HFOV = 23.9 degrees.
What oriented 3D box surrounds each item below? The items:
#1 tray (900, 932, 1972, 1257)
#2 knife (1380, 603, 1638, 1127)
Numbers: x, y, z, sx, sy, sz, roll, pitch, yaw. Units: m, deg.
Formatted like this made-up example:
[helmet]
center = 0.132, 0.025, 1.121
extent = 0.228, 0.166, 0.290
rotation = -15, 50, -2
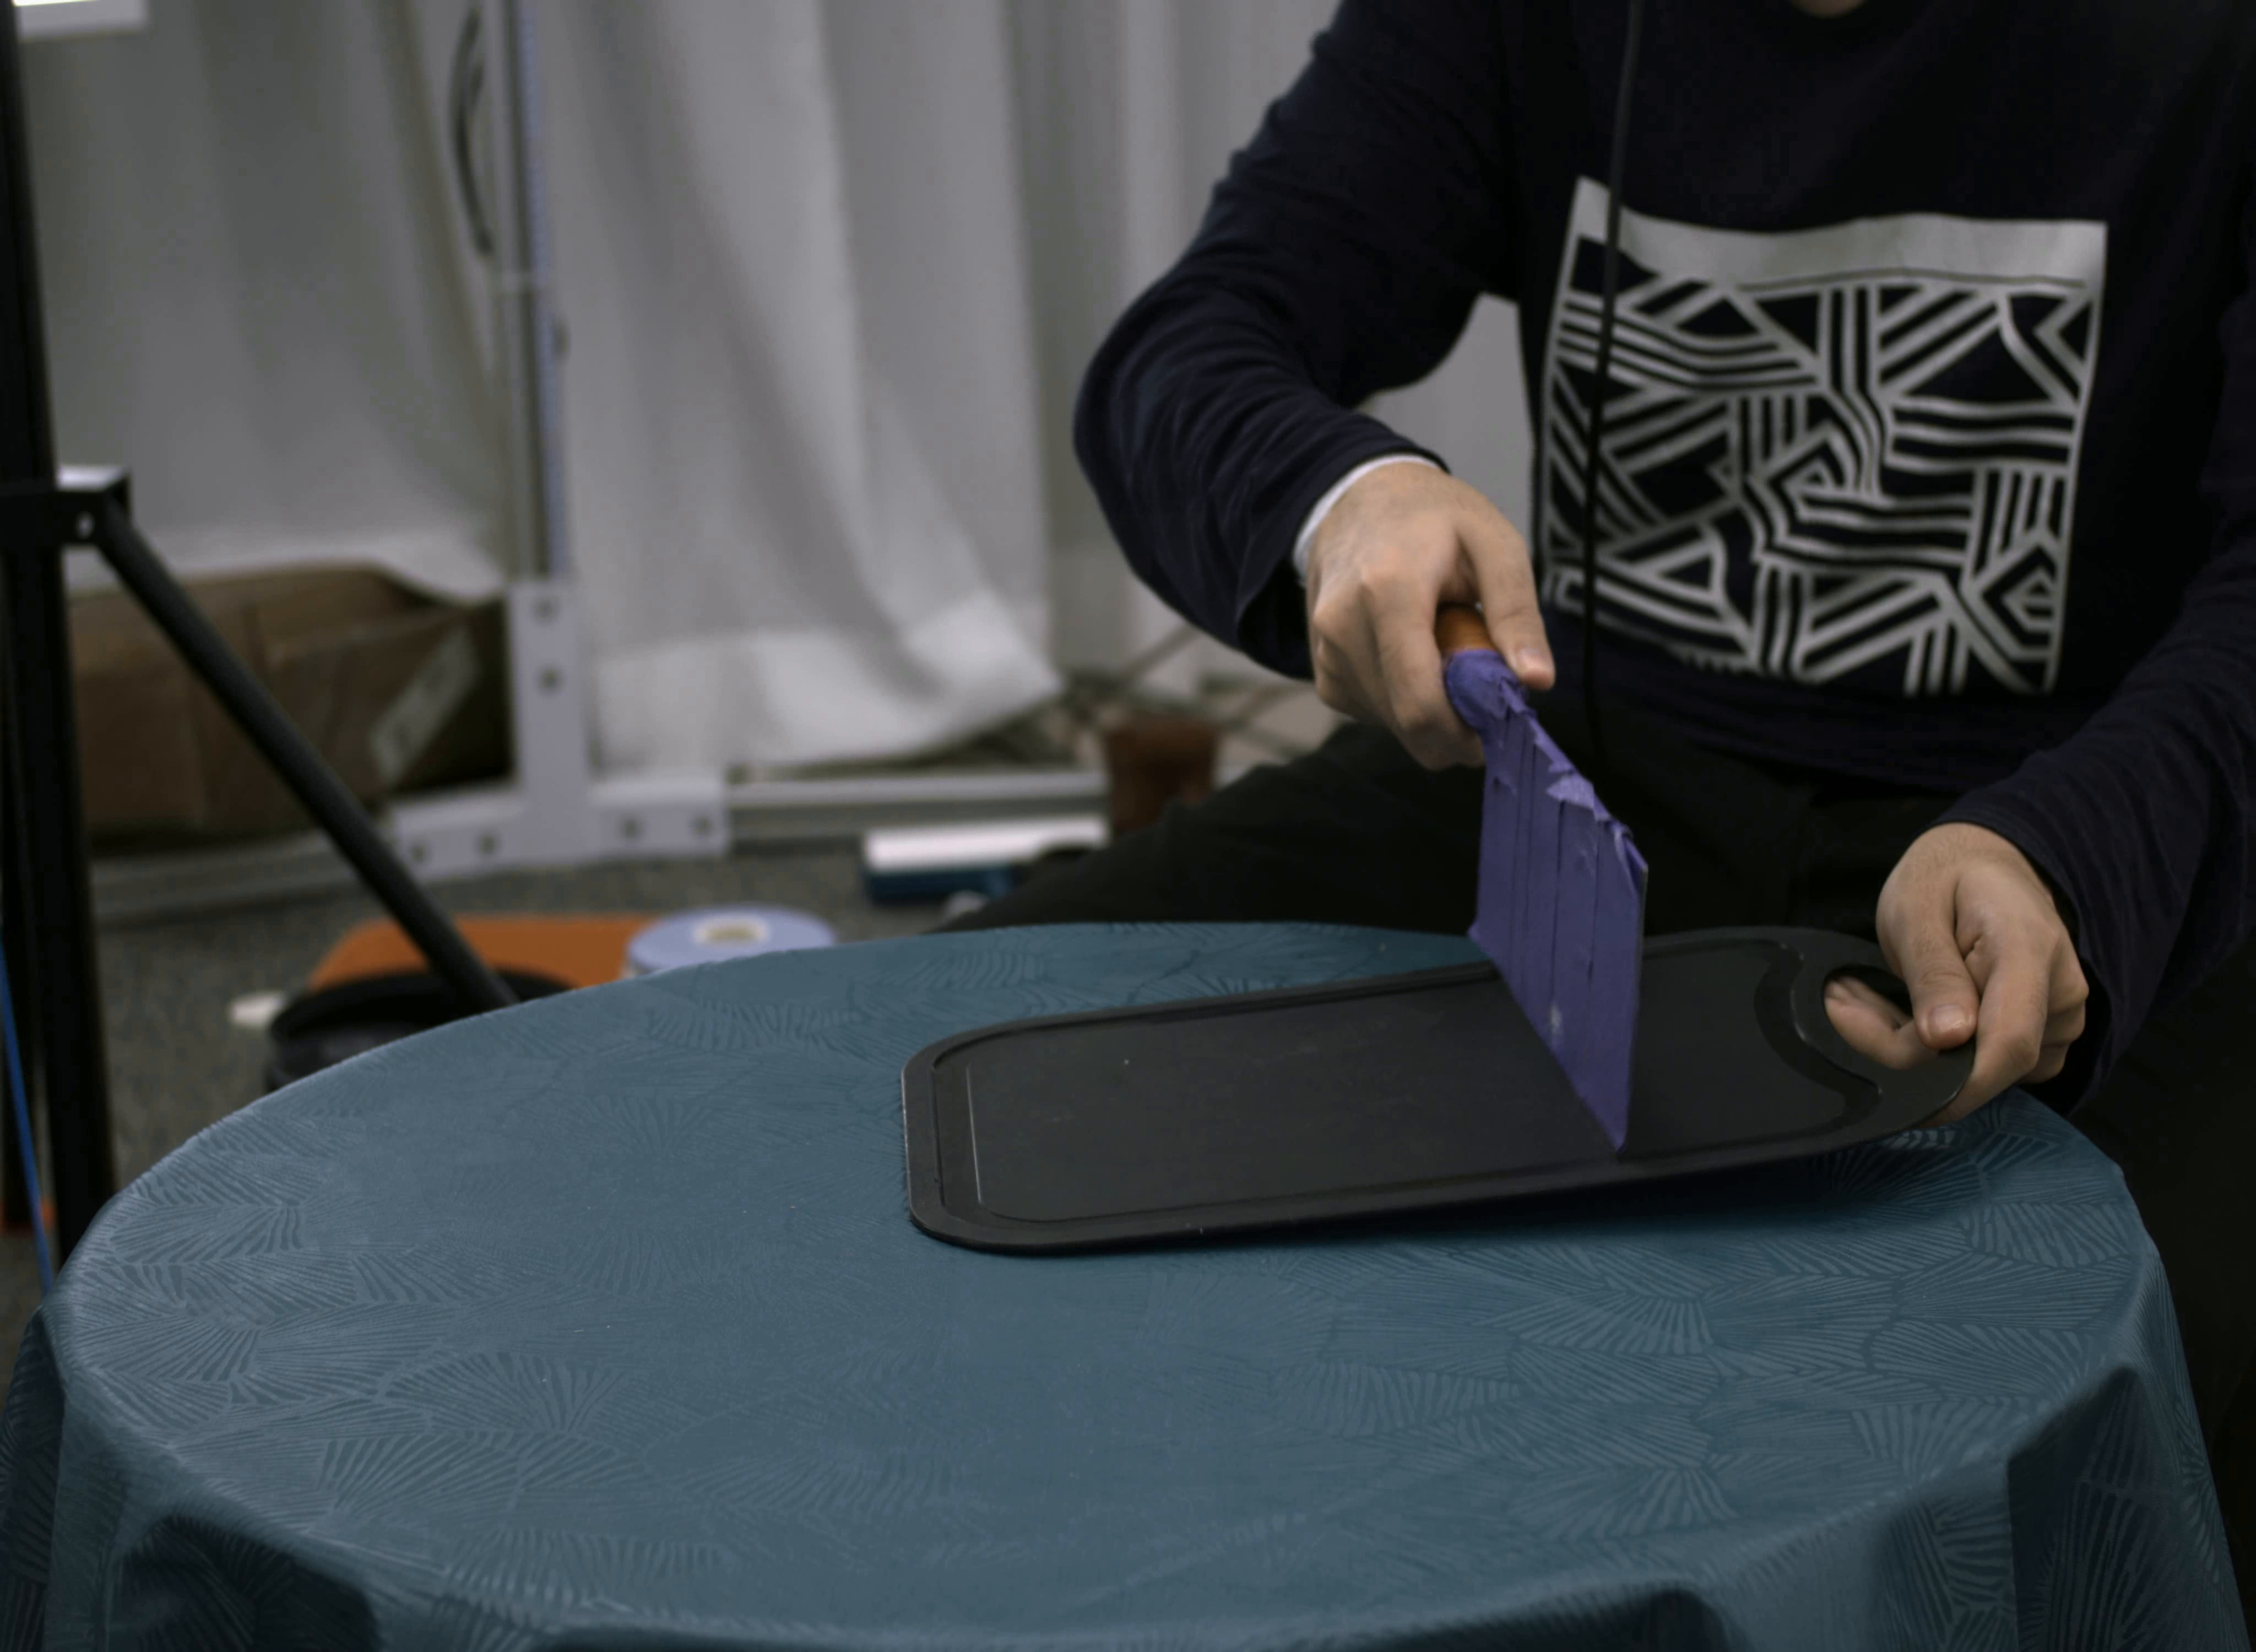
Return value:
[tray]
center = 0.092, 0.077, 1.610
extent = 0.324, 0.010, 0.212
rotation = -7, 17, 1
[knife]
center = 0.116, 0.009, 1.657
extent = 0.032, 0.104, 0.318
rotation = 3, 15, -8
